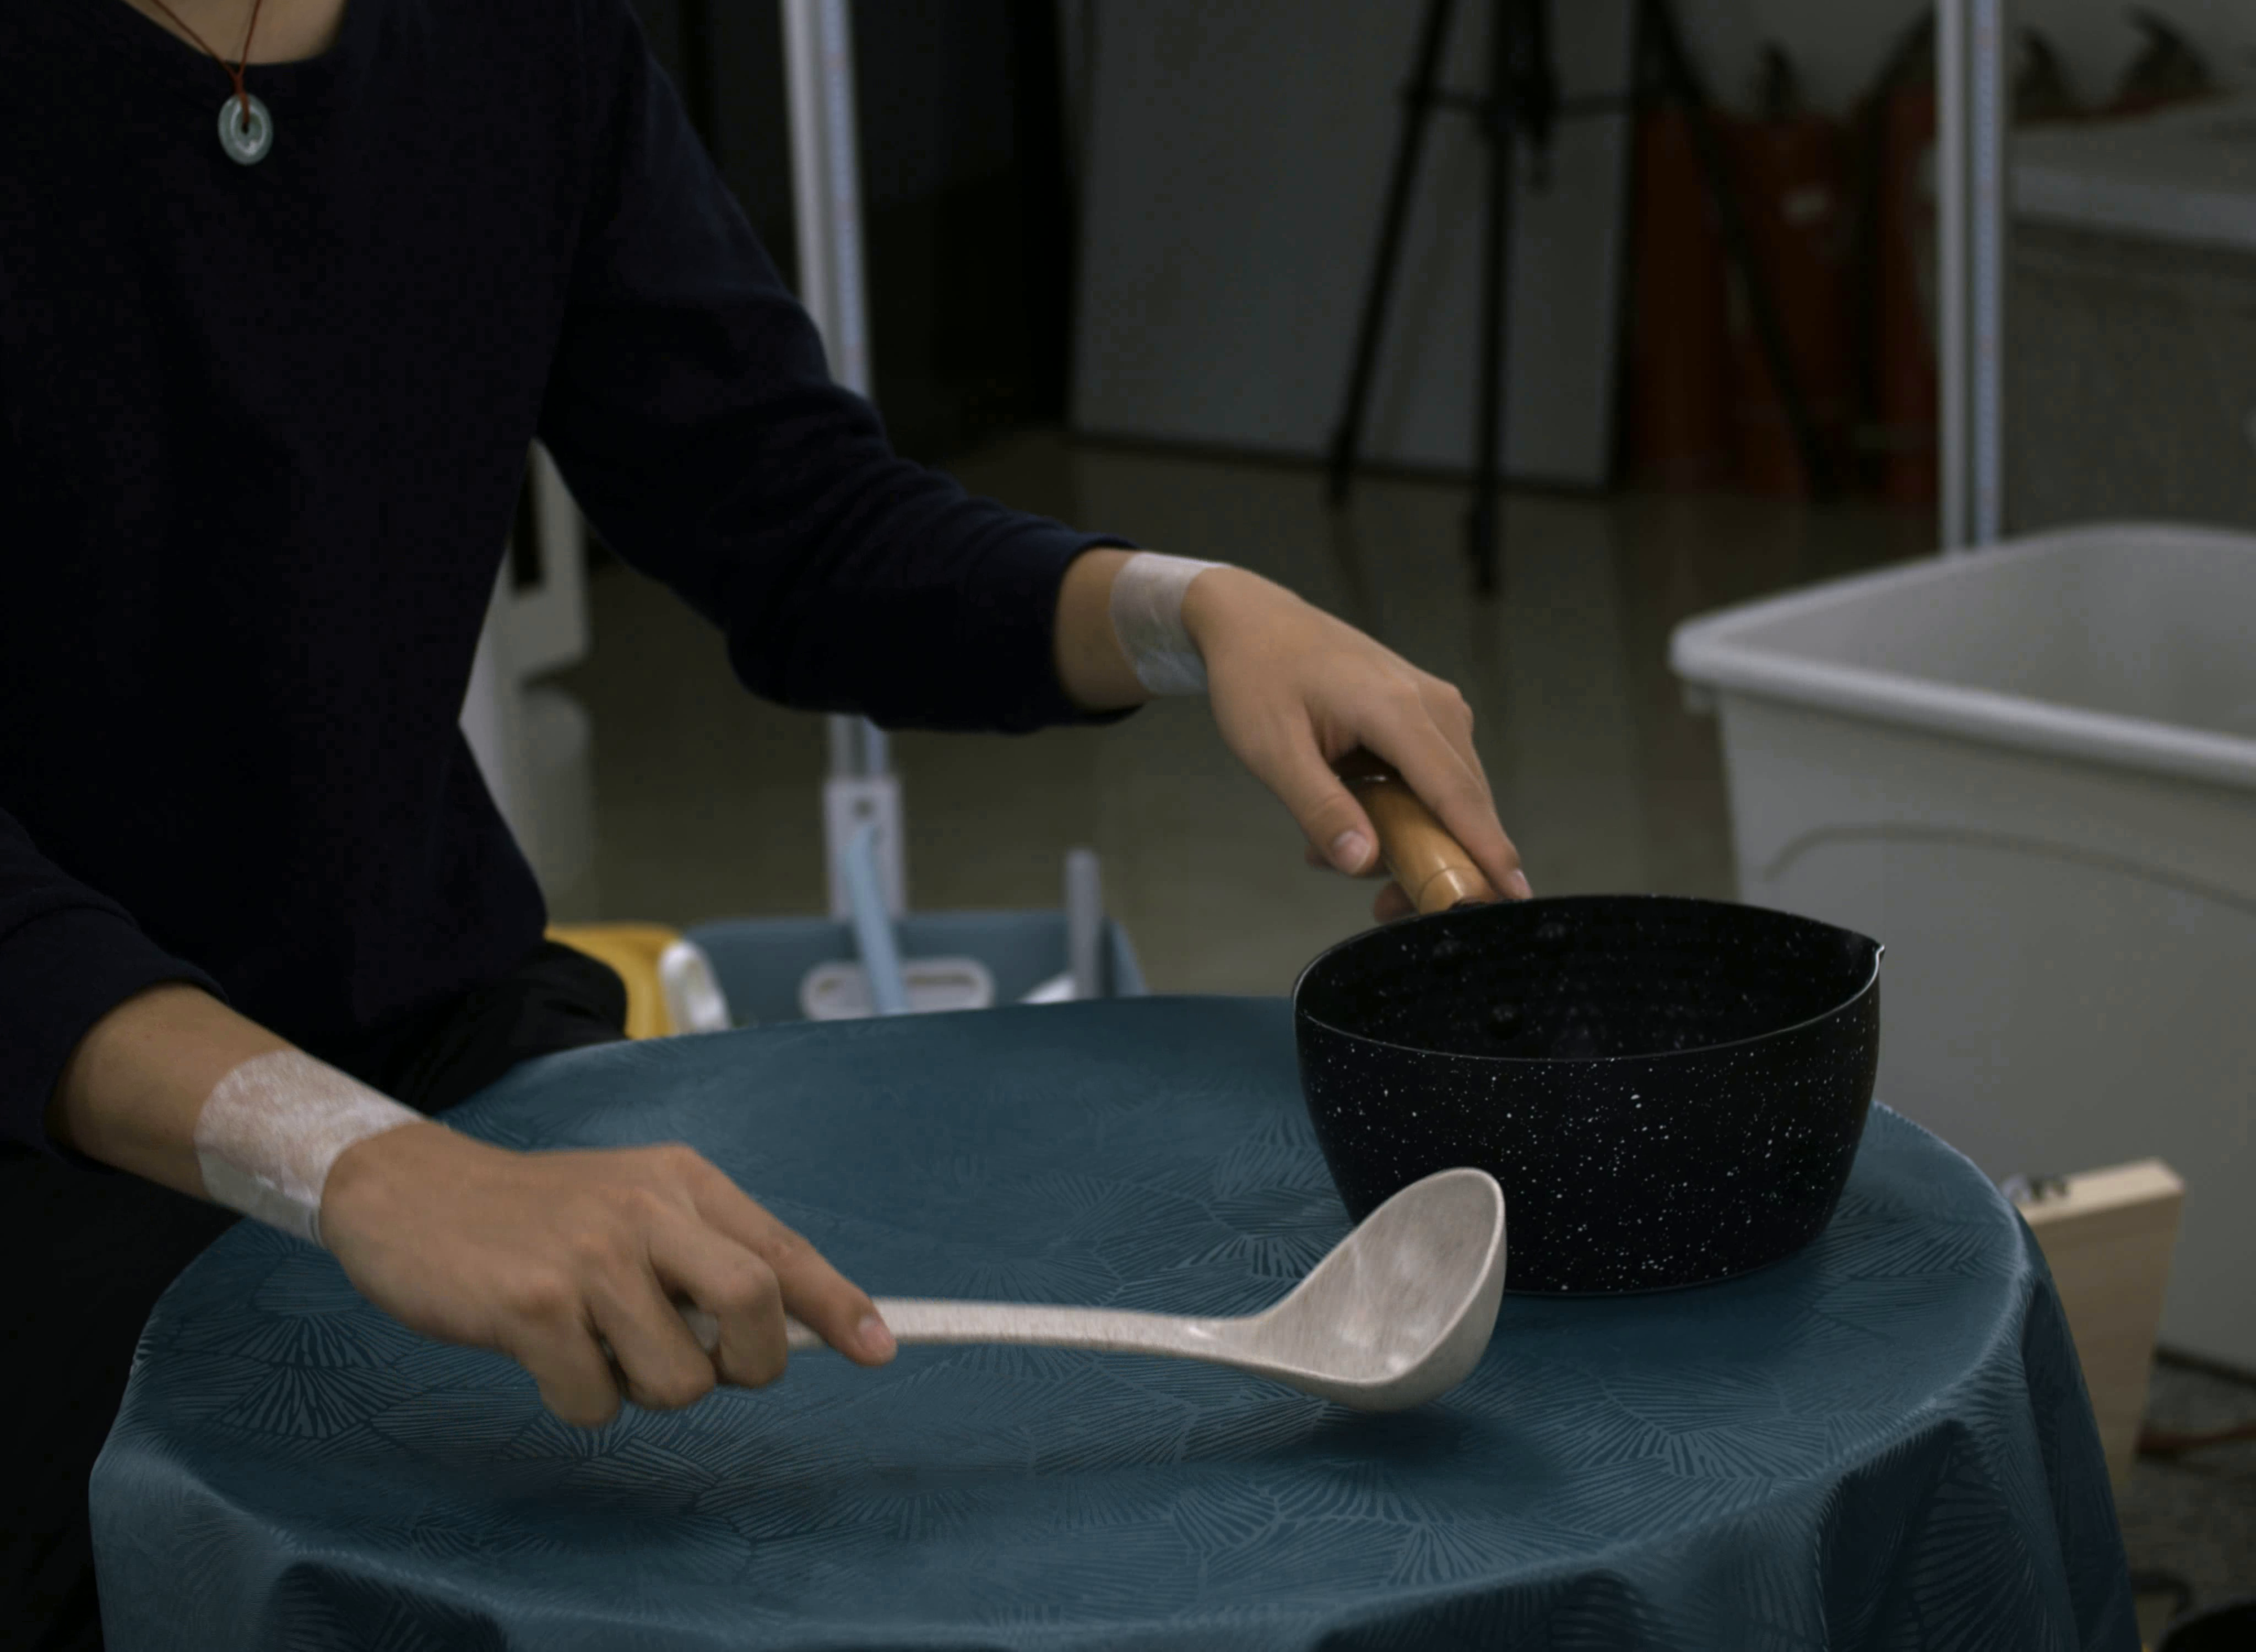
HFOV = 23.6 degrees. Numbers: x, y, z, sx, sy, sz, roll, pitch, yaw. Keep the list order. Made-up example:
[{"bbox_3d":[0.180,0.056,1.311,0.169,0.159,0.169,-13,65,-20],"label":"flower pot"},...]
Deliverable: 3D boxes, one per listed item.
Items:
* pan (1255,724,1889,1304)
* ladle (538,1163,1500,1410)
[{"bbox_3d":[0.124,0.056,1.769,0.203,0.109,0.345,-9,16,-13],"label":"pan"},{"bbox_3d":[-0.029,0.127,1.527,0.270,0.070,0.090,2,19,-8],"label":"ladle"}]
